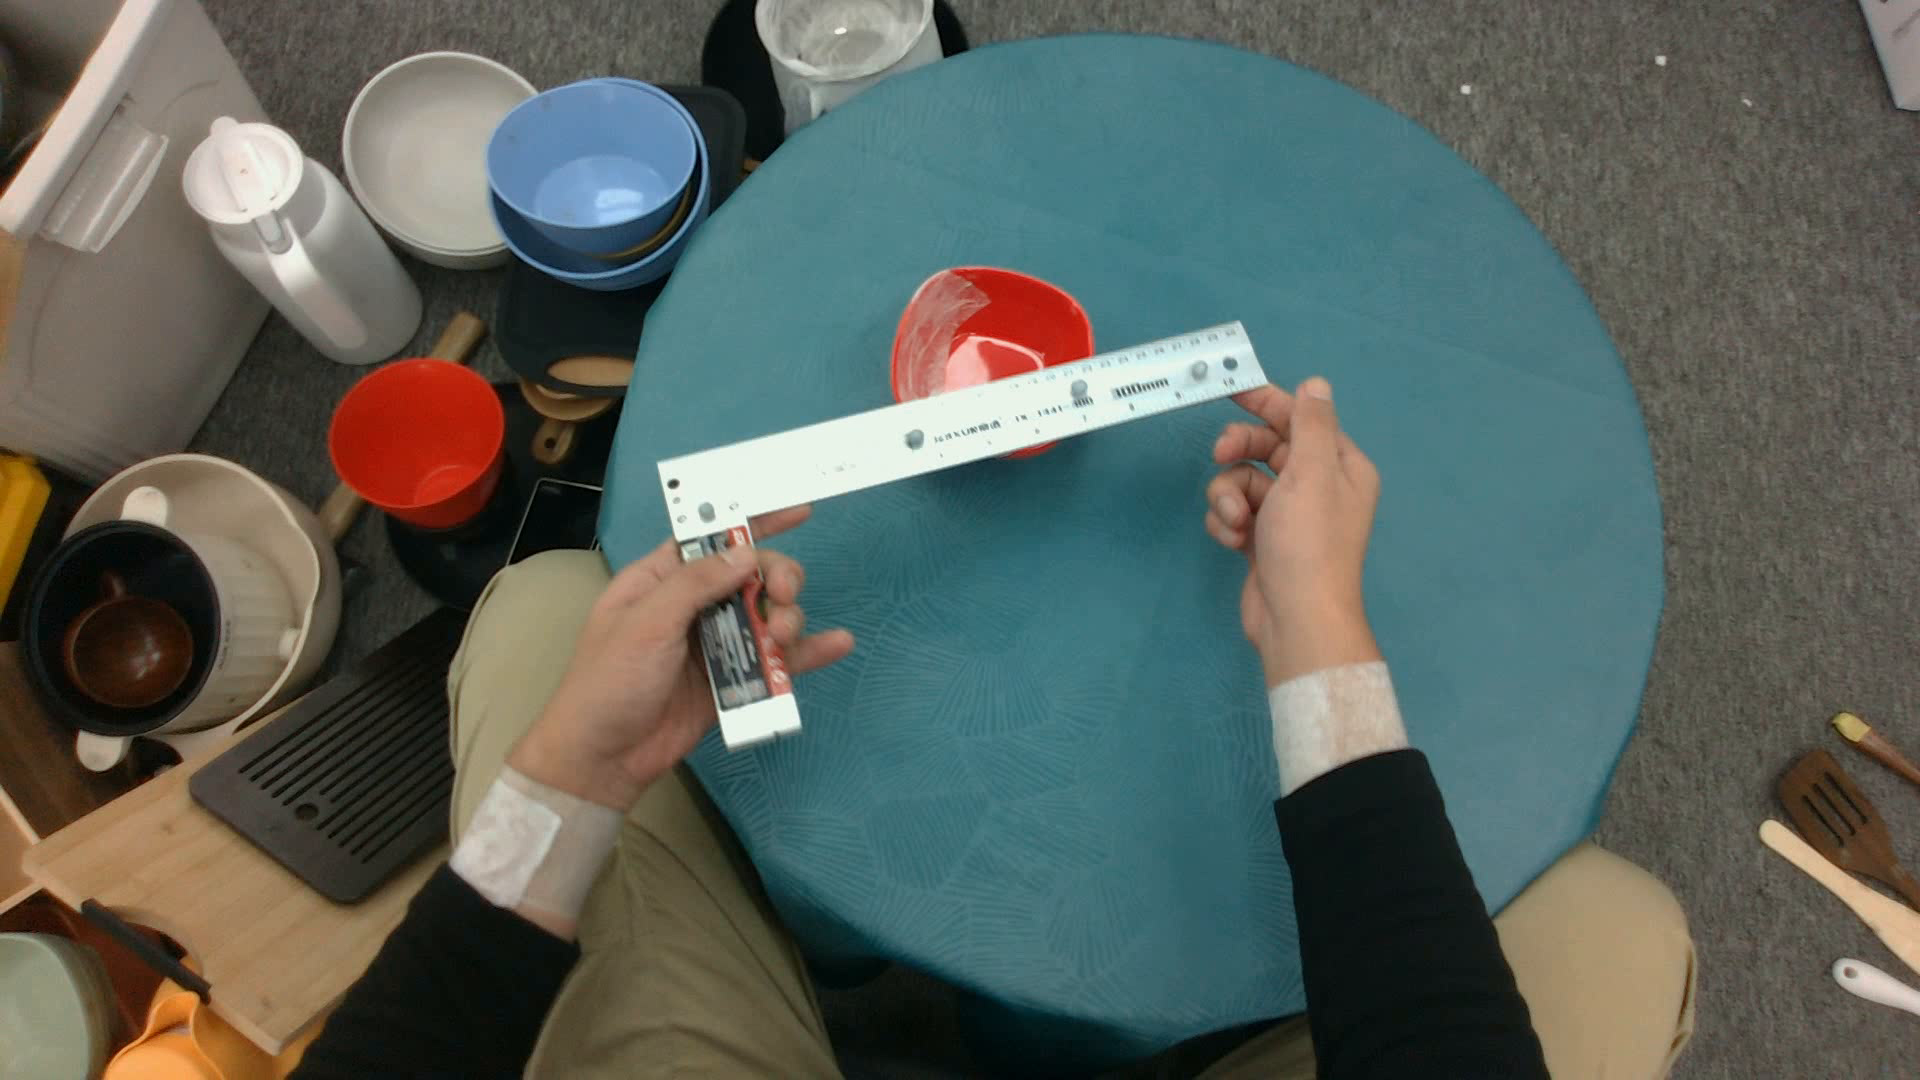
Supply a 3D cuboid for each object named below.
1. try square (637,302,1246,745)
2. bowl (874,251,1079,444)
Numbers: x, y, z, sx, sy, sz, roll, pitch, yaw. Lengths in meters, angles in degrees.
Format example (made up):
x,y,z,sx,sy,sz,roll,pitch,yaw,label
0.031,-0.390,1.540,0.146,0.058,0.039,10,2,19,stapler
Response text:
x,y,z,sx,sy,sz,roll,pitch,yaw,label
0.011,-0.016,0.671,0.313,0.016,0.152,-15,72,-11,try square
0.008,-0.100,0.774,0.119,0.051,0.119,1,72,-4,bowl
